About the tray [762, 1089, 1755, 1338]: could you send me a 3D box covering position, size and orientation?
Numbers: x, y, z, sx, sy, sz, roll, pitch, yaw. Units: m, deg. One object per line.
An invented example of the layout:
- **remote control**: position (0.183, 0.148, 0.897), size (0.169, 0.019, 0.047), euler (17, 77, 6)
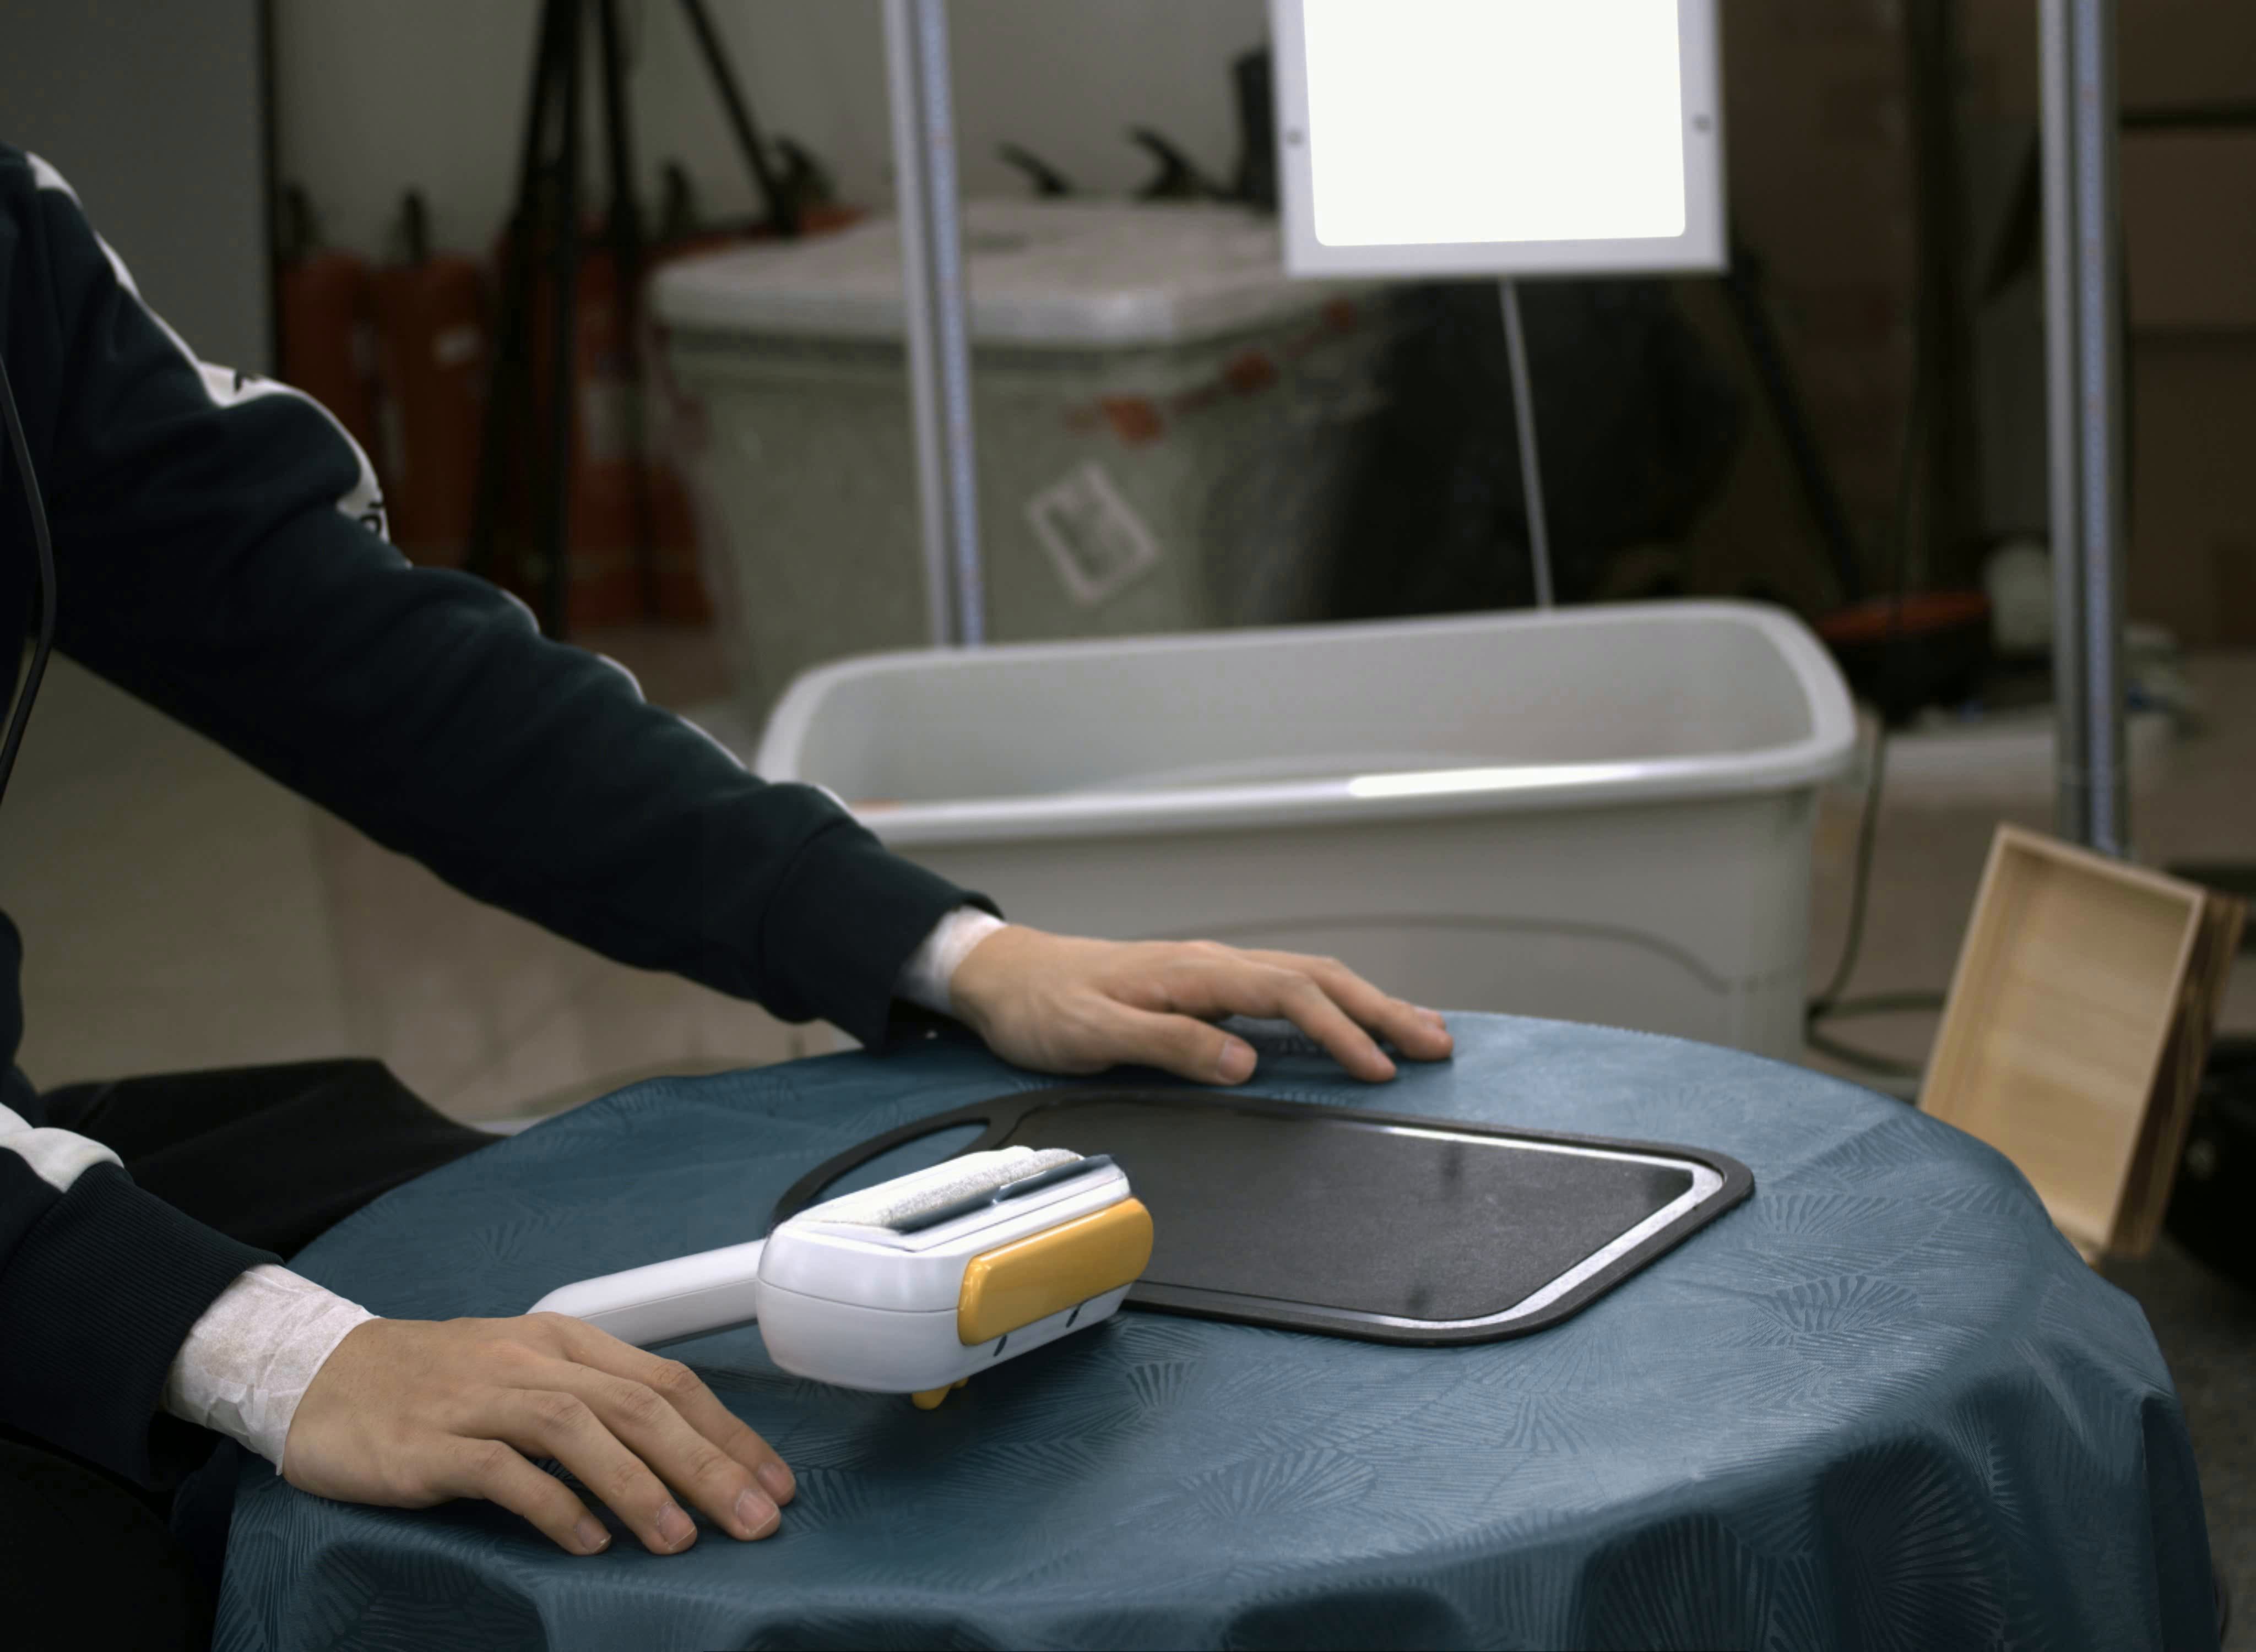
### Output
- **tray**: position (0.036, 0.127, 1.867), size (0.332, 0.010, 0.206), euler (4, 16, 34)

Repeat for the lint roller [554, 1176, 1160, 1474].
- **lint roller**: position (-0.103, 0.161, 1.727), size (0.196, 0.074, 0.188), euler (-13, 1, 30)
